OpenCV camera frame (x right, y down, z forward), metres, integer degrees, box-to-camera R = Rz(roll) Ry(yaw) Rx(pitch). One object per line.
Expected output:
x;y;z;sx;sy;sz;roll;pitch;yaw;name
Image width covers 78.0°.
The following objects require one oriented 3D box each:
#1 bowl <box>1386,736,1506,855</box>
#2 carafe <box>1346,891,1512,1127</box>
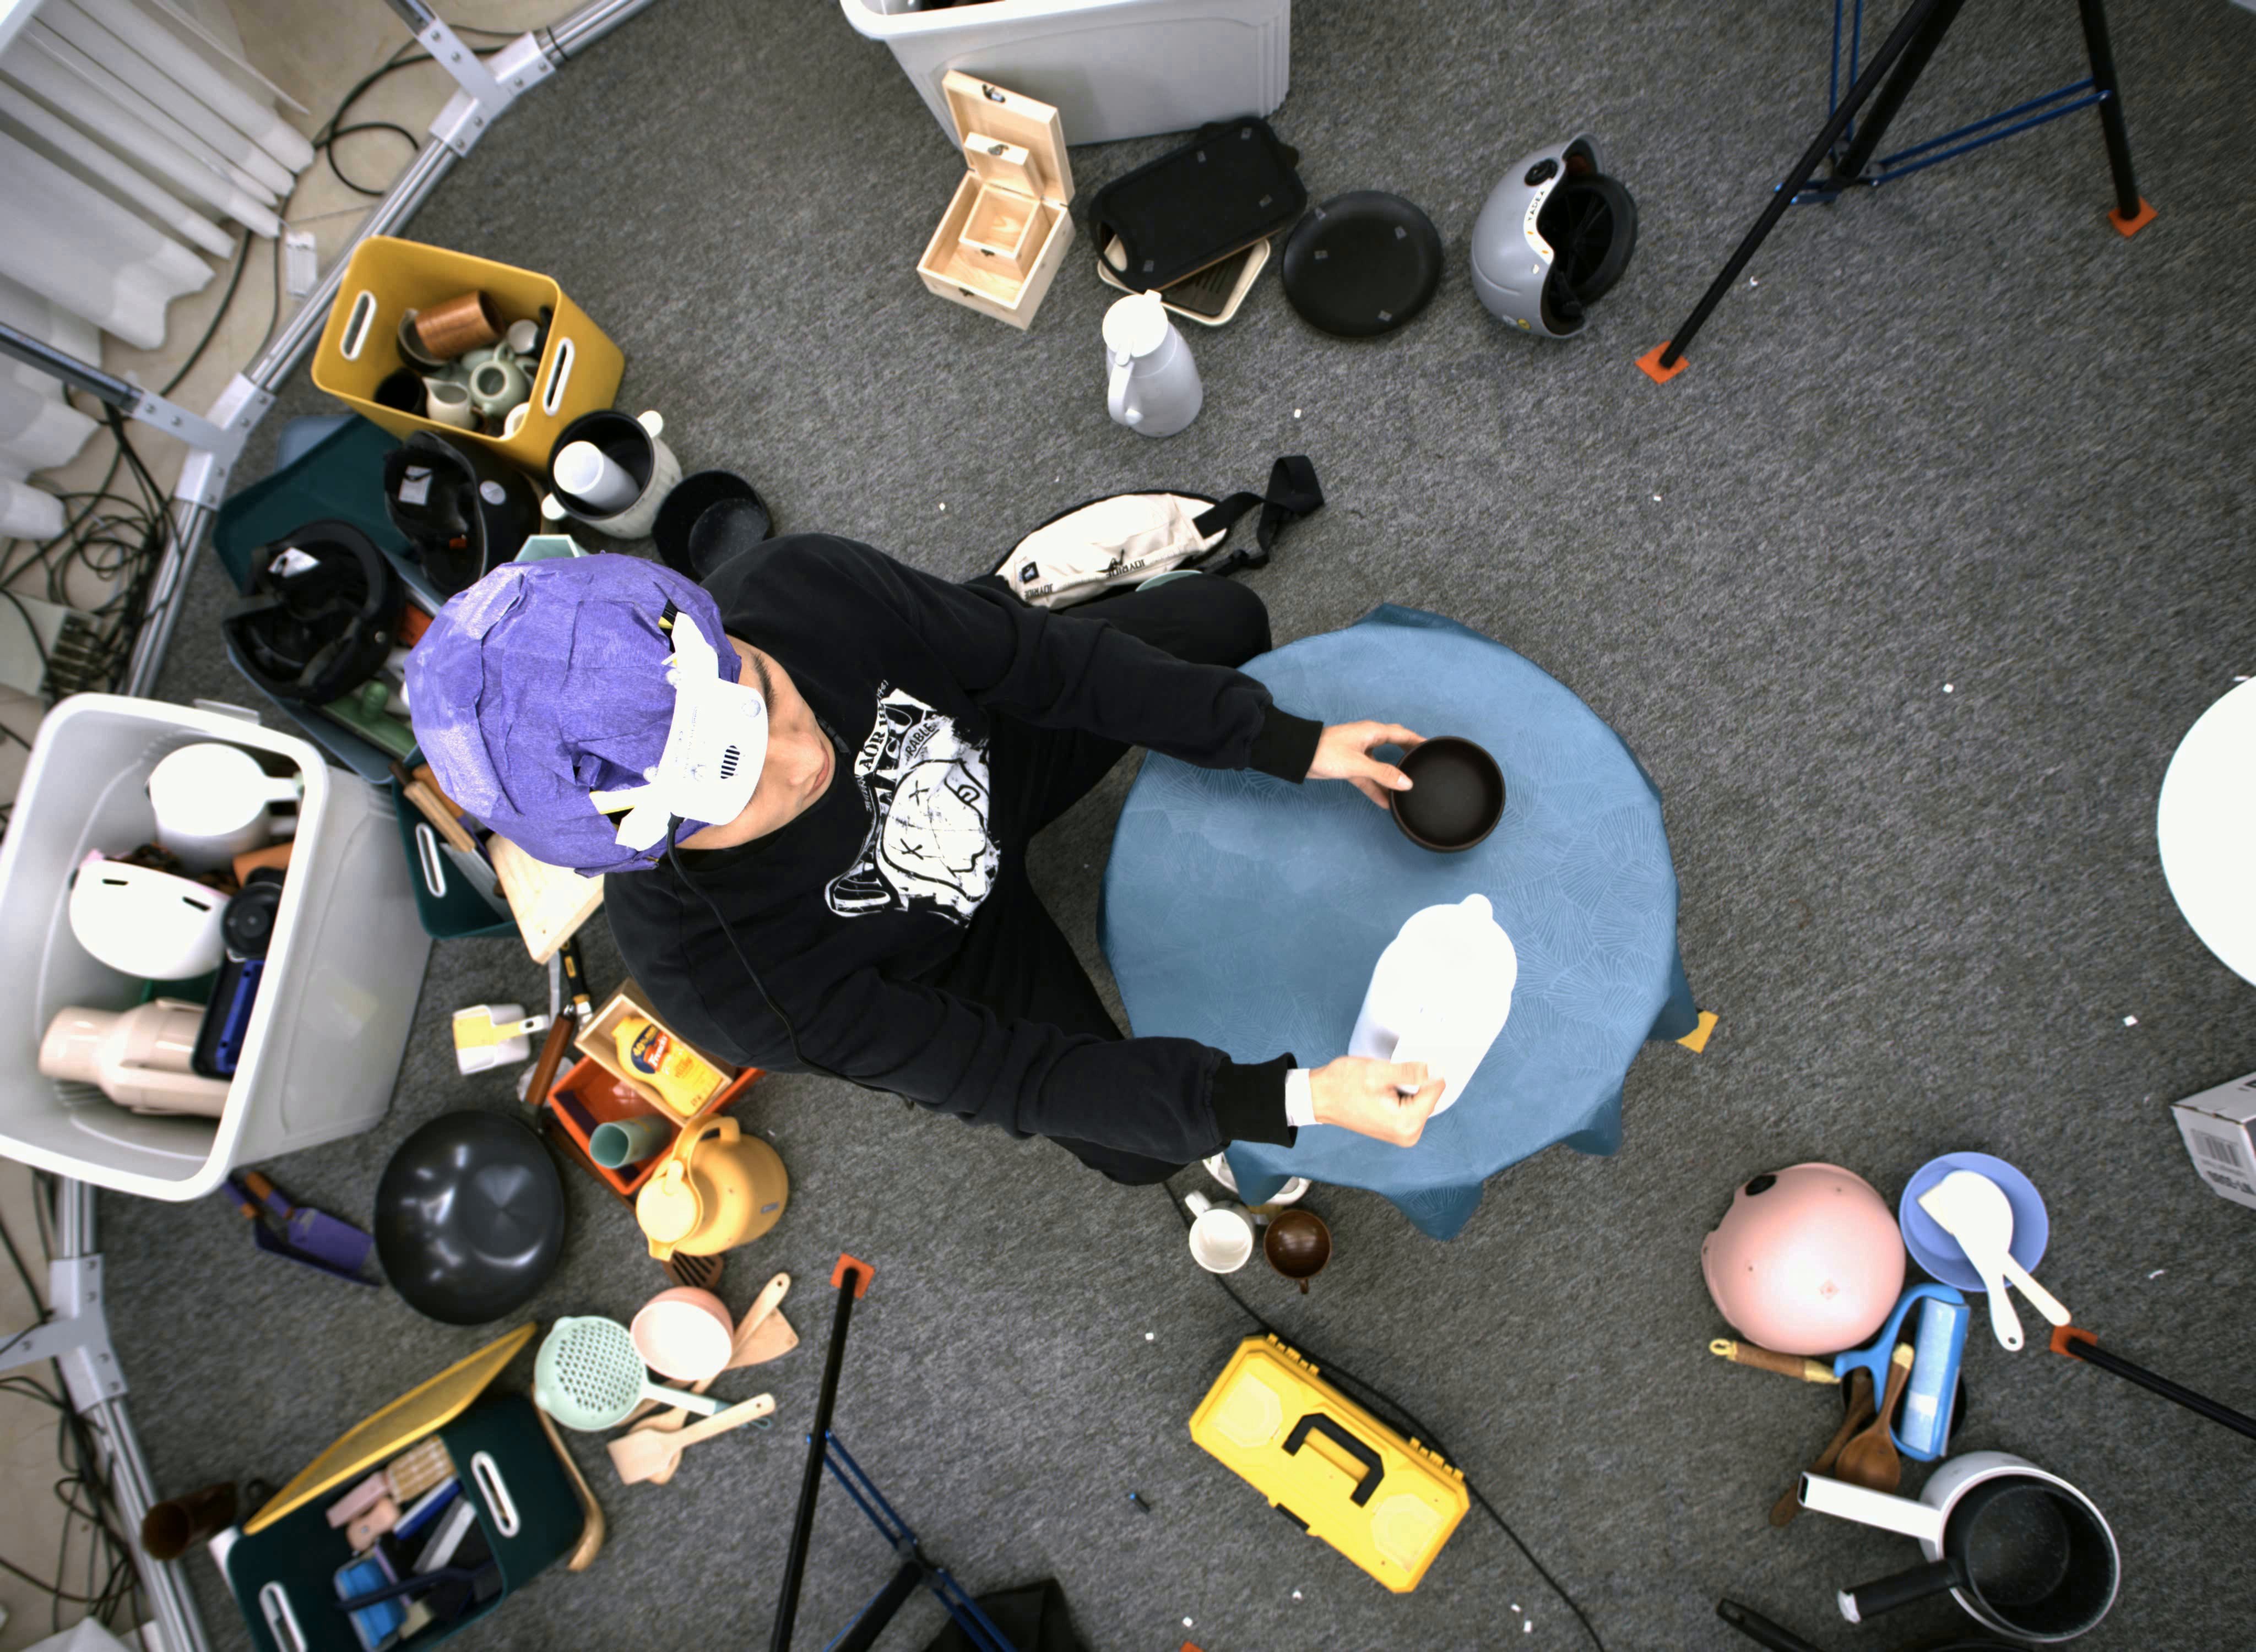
0.320;-0.031;1.393;0.118;0.070;0.117;-1;87;9;bowl
0.260;0.184;1.226;0.124;0.274;0.169;23;65;12;carafe
